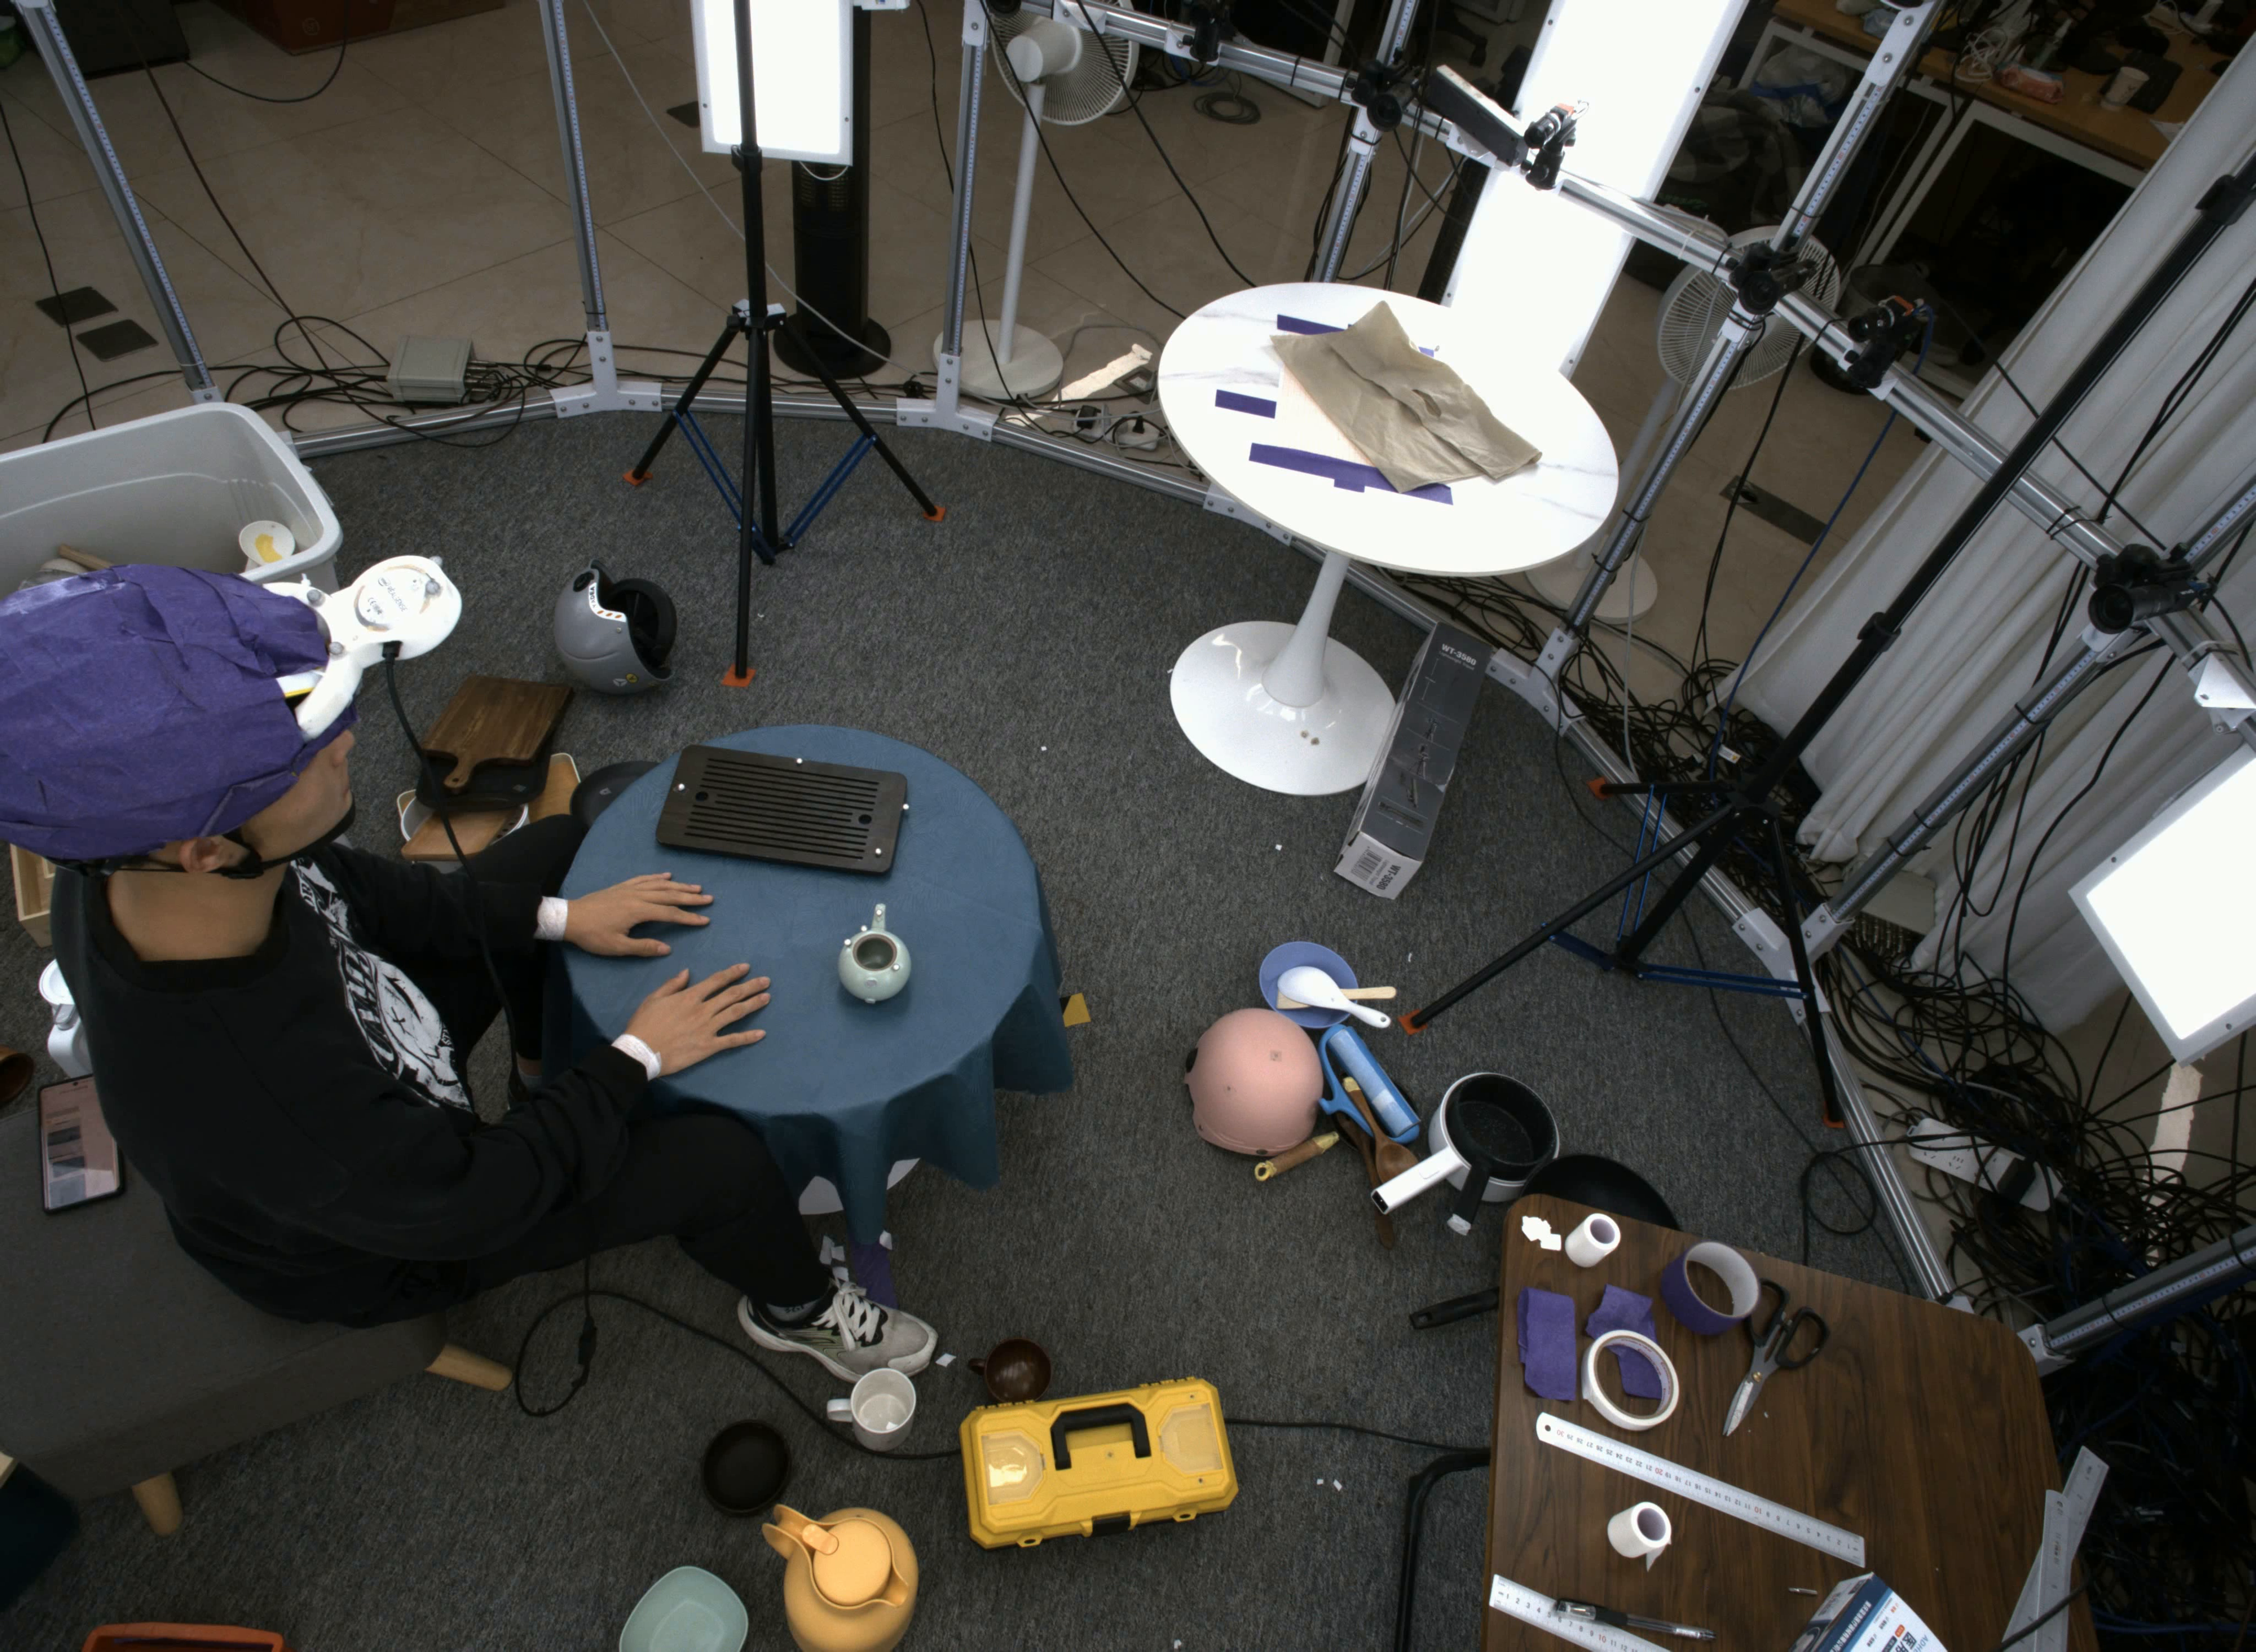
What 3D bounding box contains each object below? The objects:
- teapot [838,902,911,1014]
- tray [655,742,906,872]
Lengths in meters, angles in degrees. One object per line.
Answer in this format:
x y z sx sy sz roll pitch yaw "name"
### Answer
-0.308 0.167 1.579 0.088 0.076 0.141 7 51 -8 "teapot"
-0.457 -0.025 1.720 0.305 0.019 0.167 8 53 -8 "tray"
